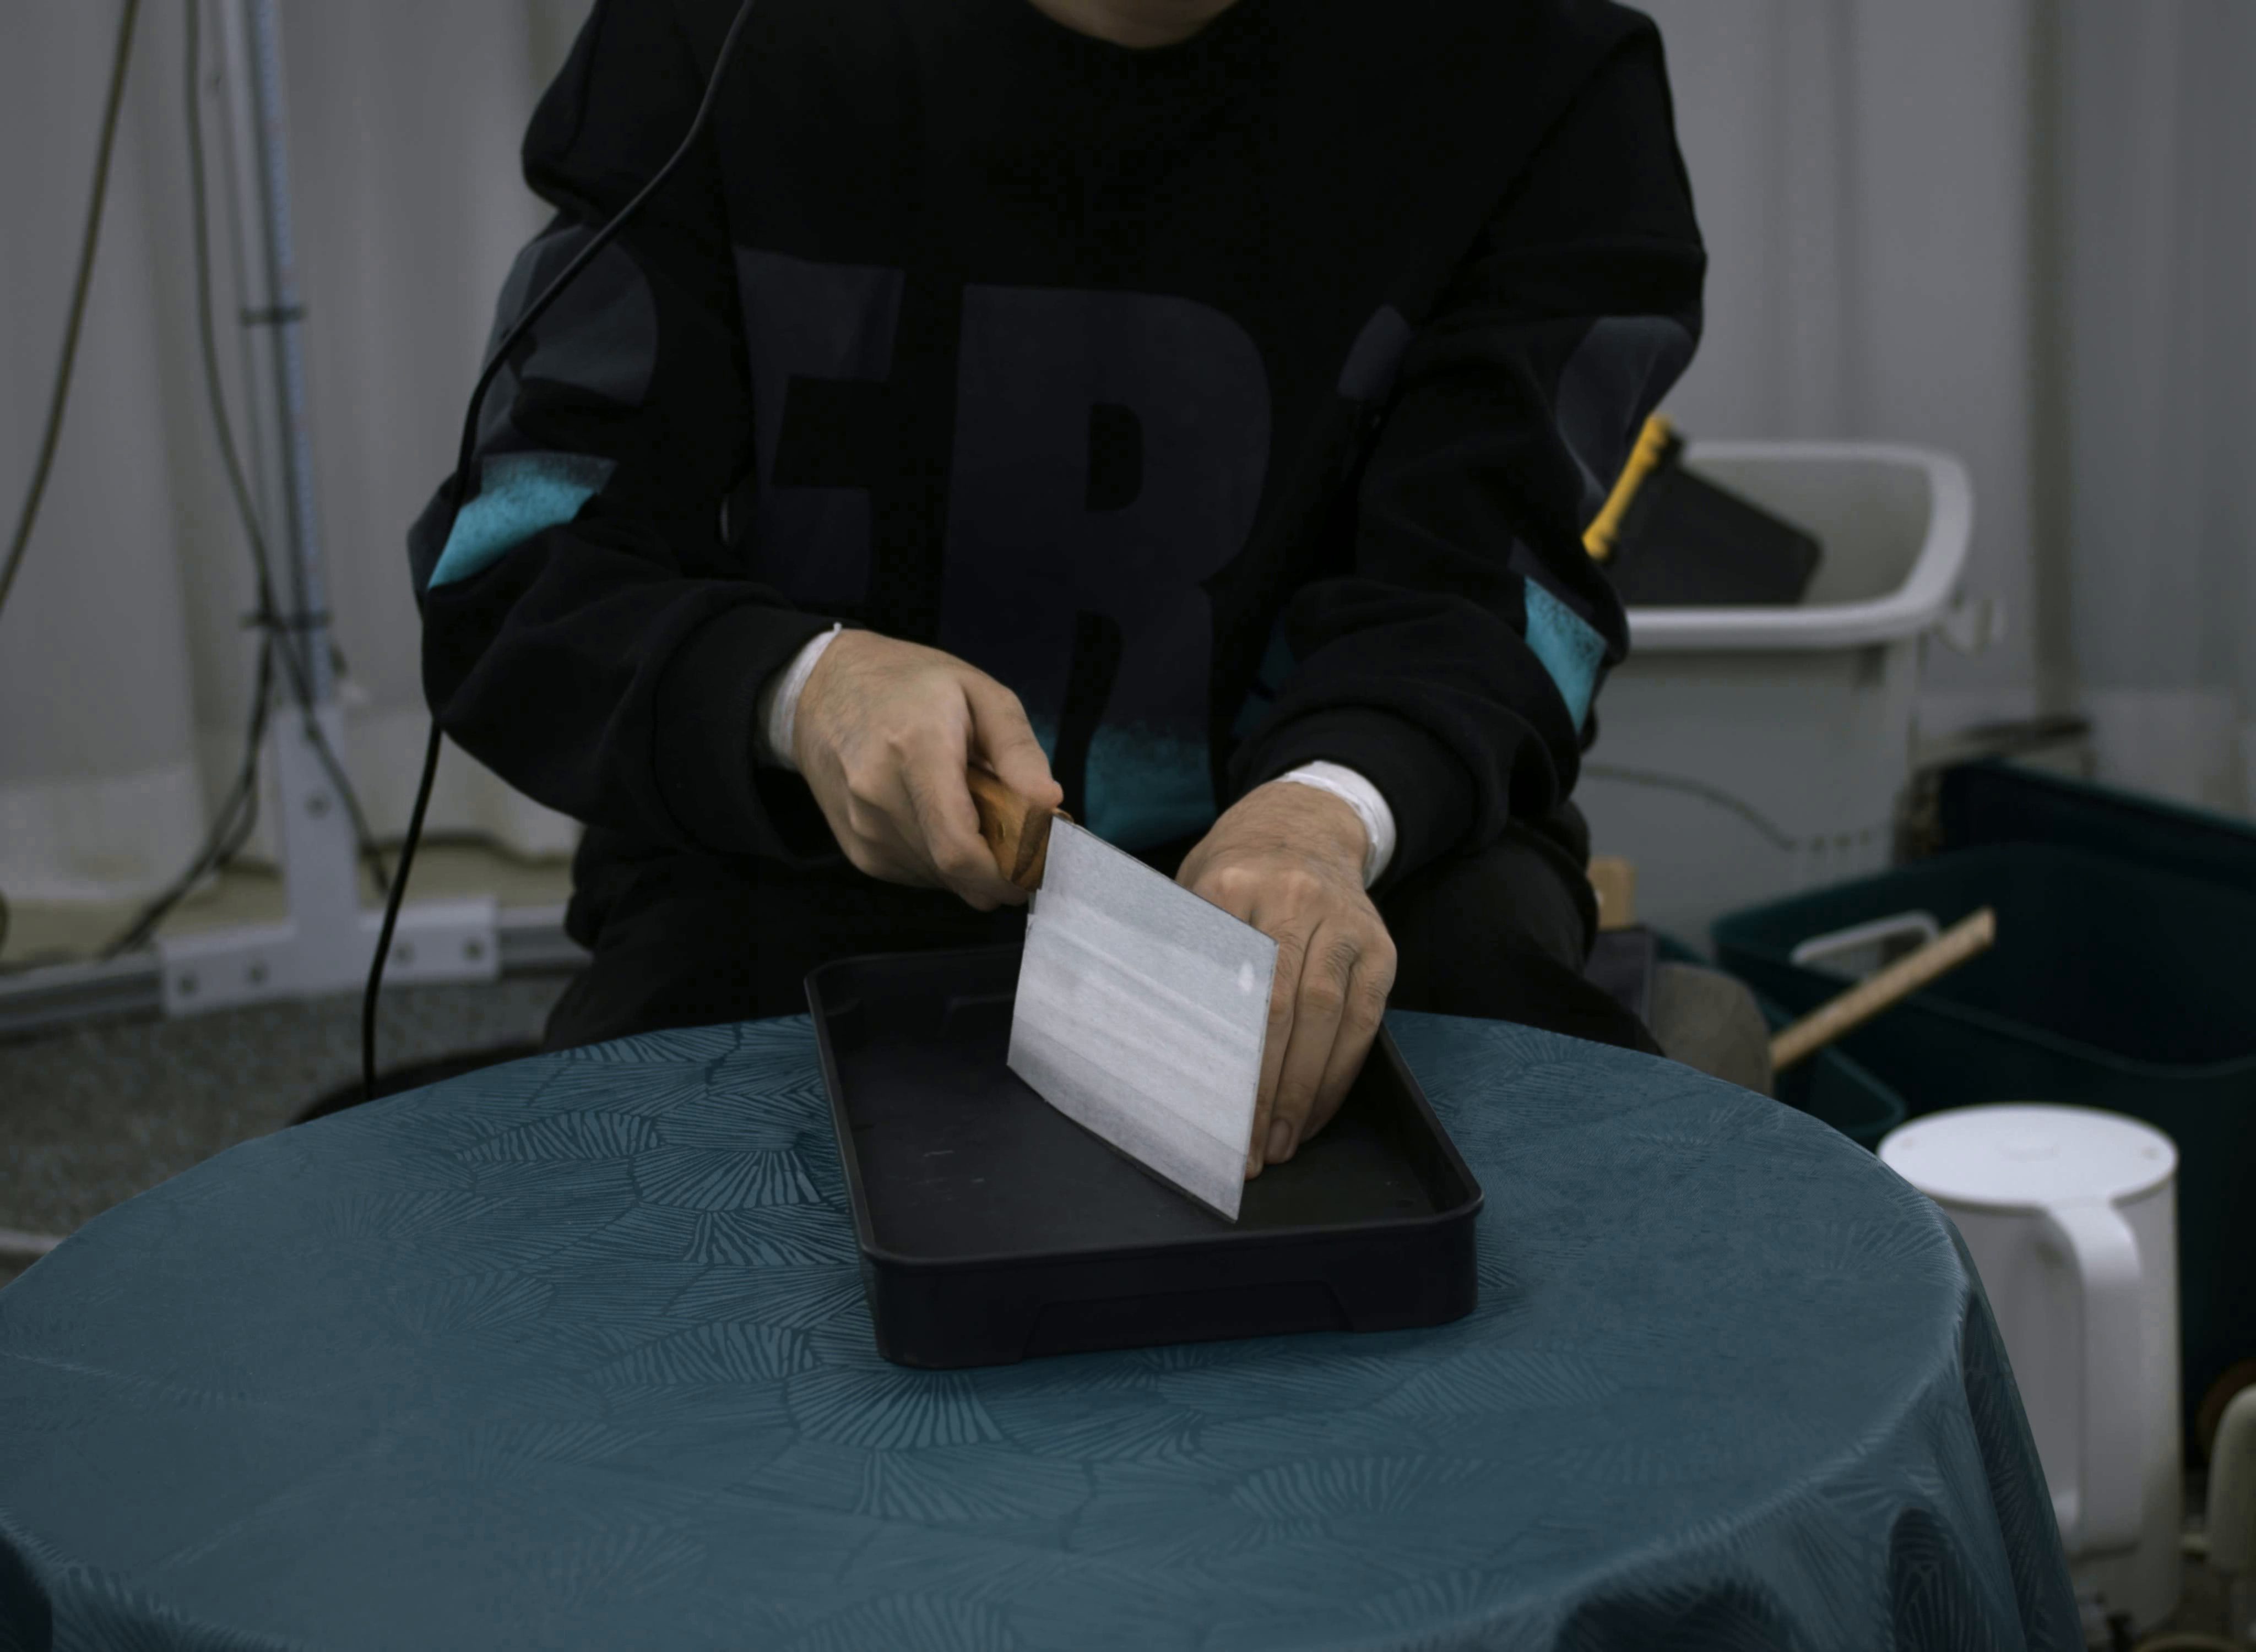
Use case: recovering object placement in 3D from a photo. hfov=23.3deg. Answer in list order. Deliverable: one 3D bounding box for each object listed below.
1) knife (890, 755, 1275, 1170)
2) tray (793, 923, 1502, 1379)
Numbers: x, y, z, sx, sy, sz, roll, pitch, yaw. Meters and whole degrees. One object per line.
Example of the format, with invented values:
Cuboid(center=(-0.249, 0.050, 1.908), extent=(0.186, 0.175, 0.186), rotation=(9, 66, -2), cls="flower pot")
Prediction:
Cuboid(center=(-0.020, 0.044, 1.782), extent=(0.021, 0.093, 0.308), rotation=(4, 10, -24), cls="knife")
Cuboid(center=(-0.001, 0.096, 1.714), extent=(0.183, 0.037, 0.320), rotation=(-5, 15, -7), cls="tray")
